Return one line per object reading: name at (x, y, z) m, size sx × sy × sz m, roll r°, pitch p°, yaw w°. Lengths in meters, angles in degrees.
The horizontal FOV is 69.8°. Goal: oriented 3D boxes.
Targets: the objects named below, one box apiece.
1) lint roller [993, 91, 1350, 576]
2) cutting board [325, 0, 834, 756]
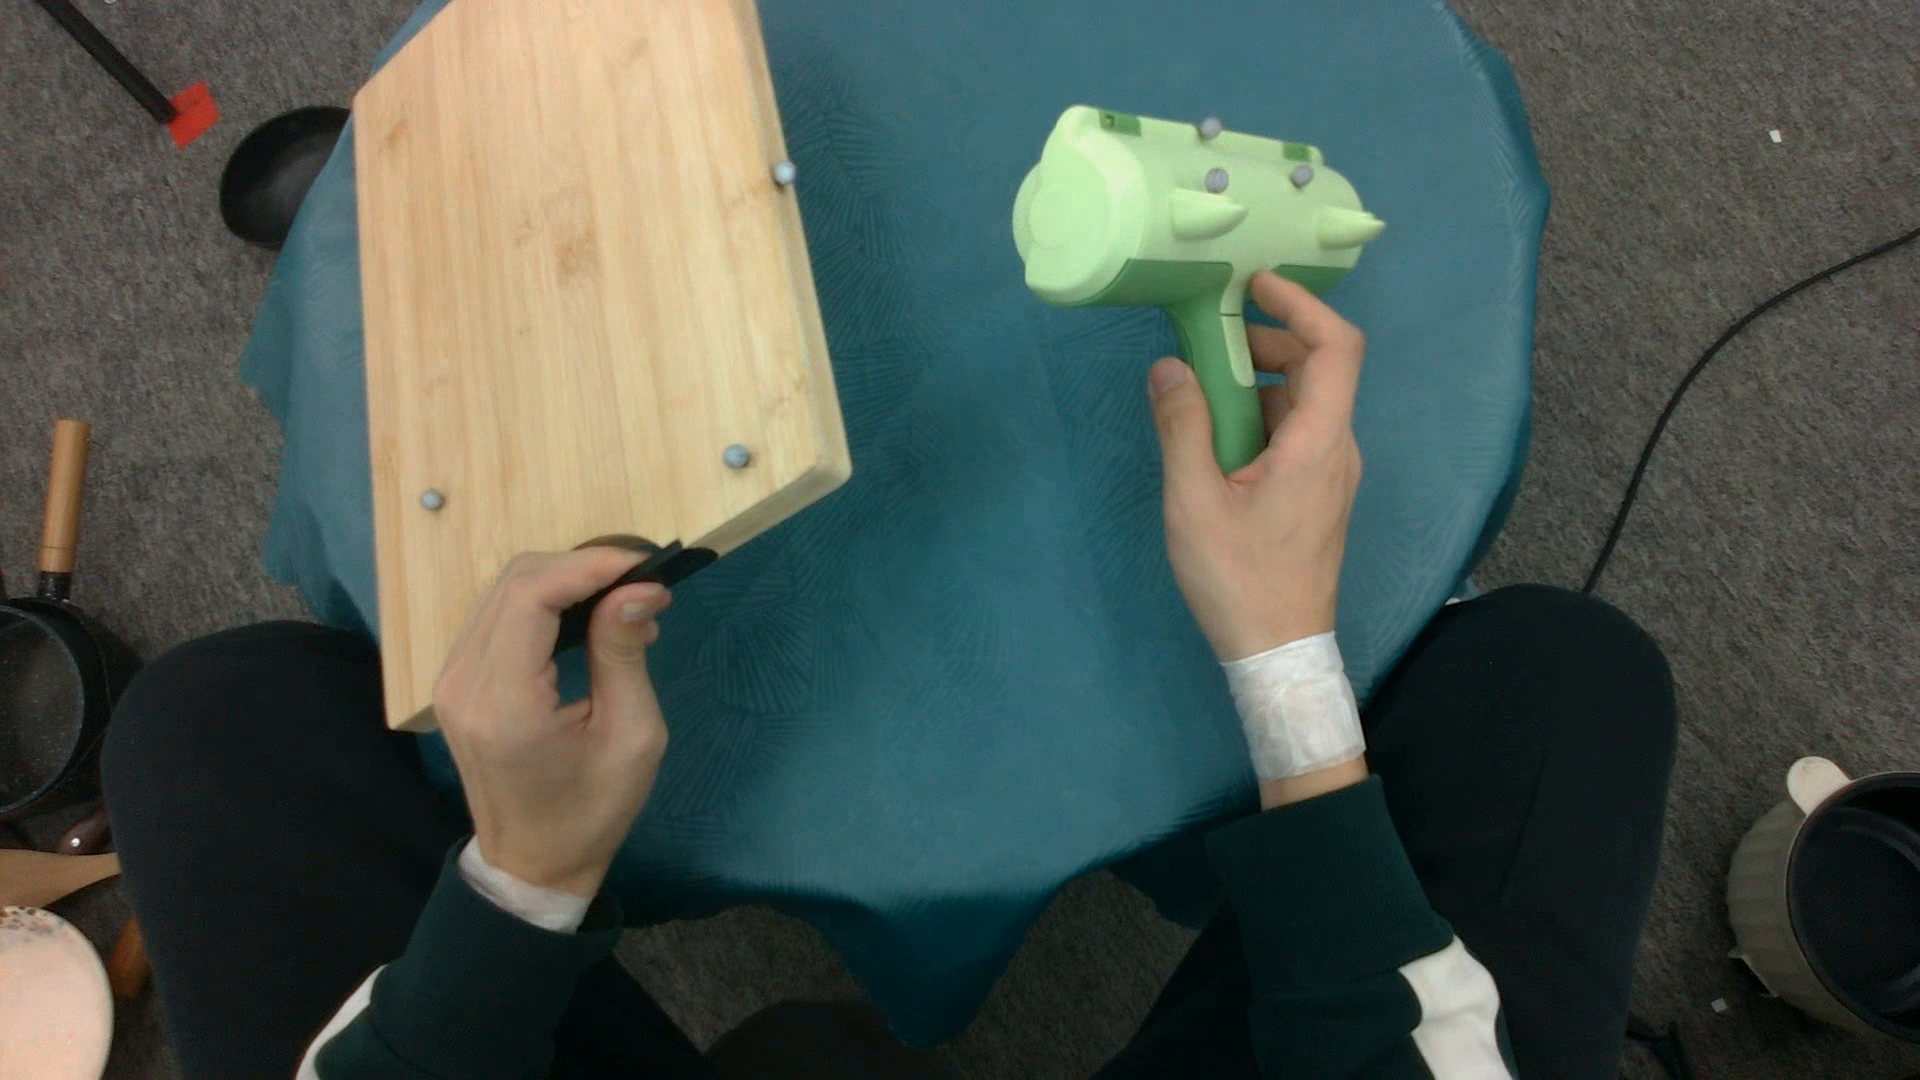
lint roller at (0.107, -0.081, 0.547) m, size 0.082 × 0.199 × 0.183 m, roll -16°, pitch 89°, yaw 38°
cutting board at (-0.179, -0.117, 0.574) m, size 0.250 × 0.023 × 0.349 m, roll -31°, pitch 62°, yaw 28°
